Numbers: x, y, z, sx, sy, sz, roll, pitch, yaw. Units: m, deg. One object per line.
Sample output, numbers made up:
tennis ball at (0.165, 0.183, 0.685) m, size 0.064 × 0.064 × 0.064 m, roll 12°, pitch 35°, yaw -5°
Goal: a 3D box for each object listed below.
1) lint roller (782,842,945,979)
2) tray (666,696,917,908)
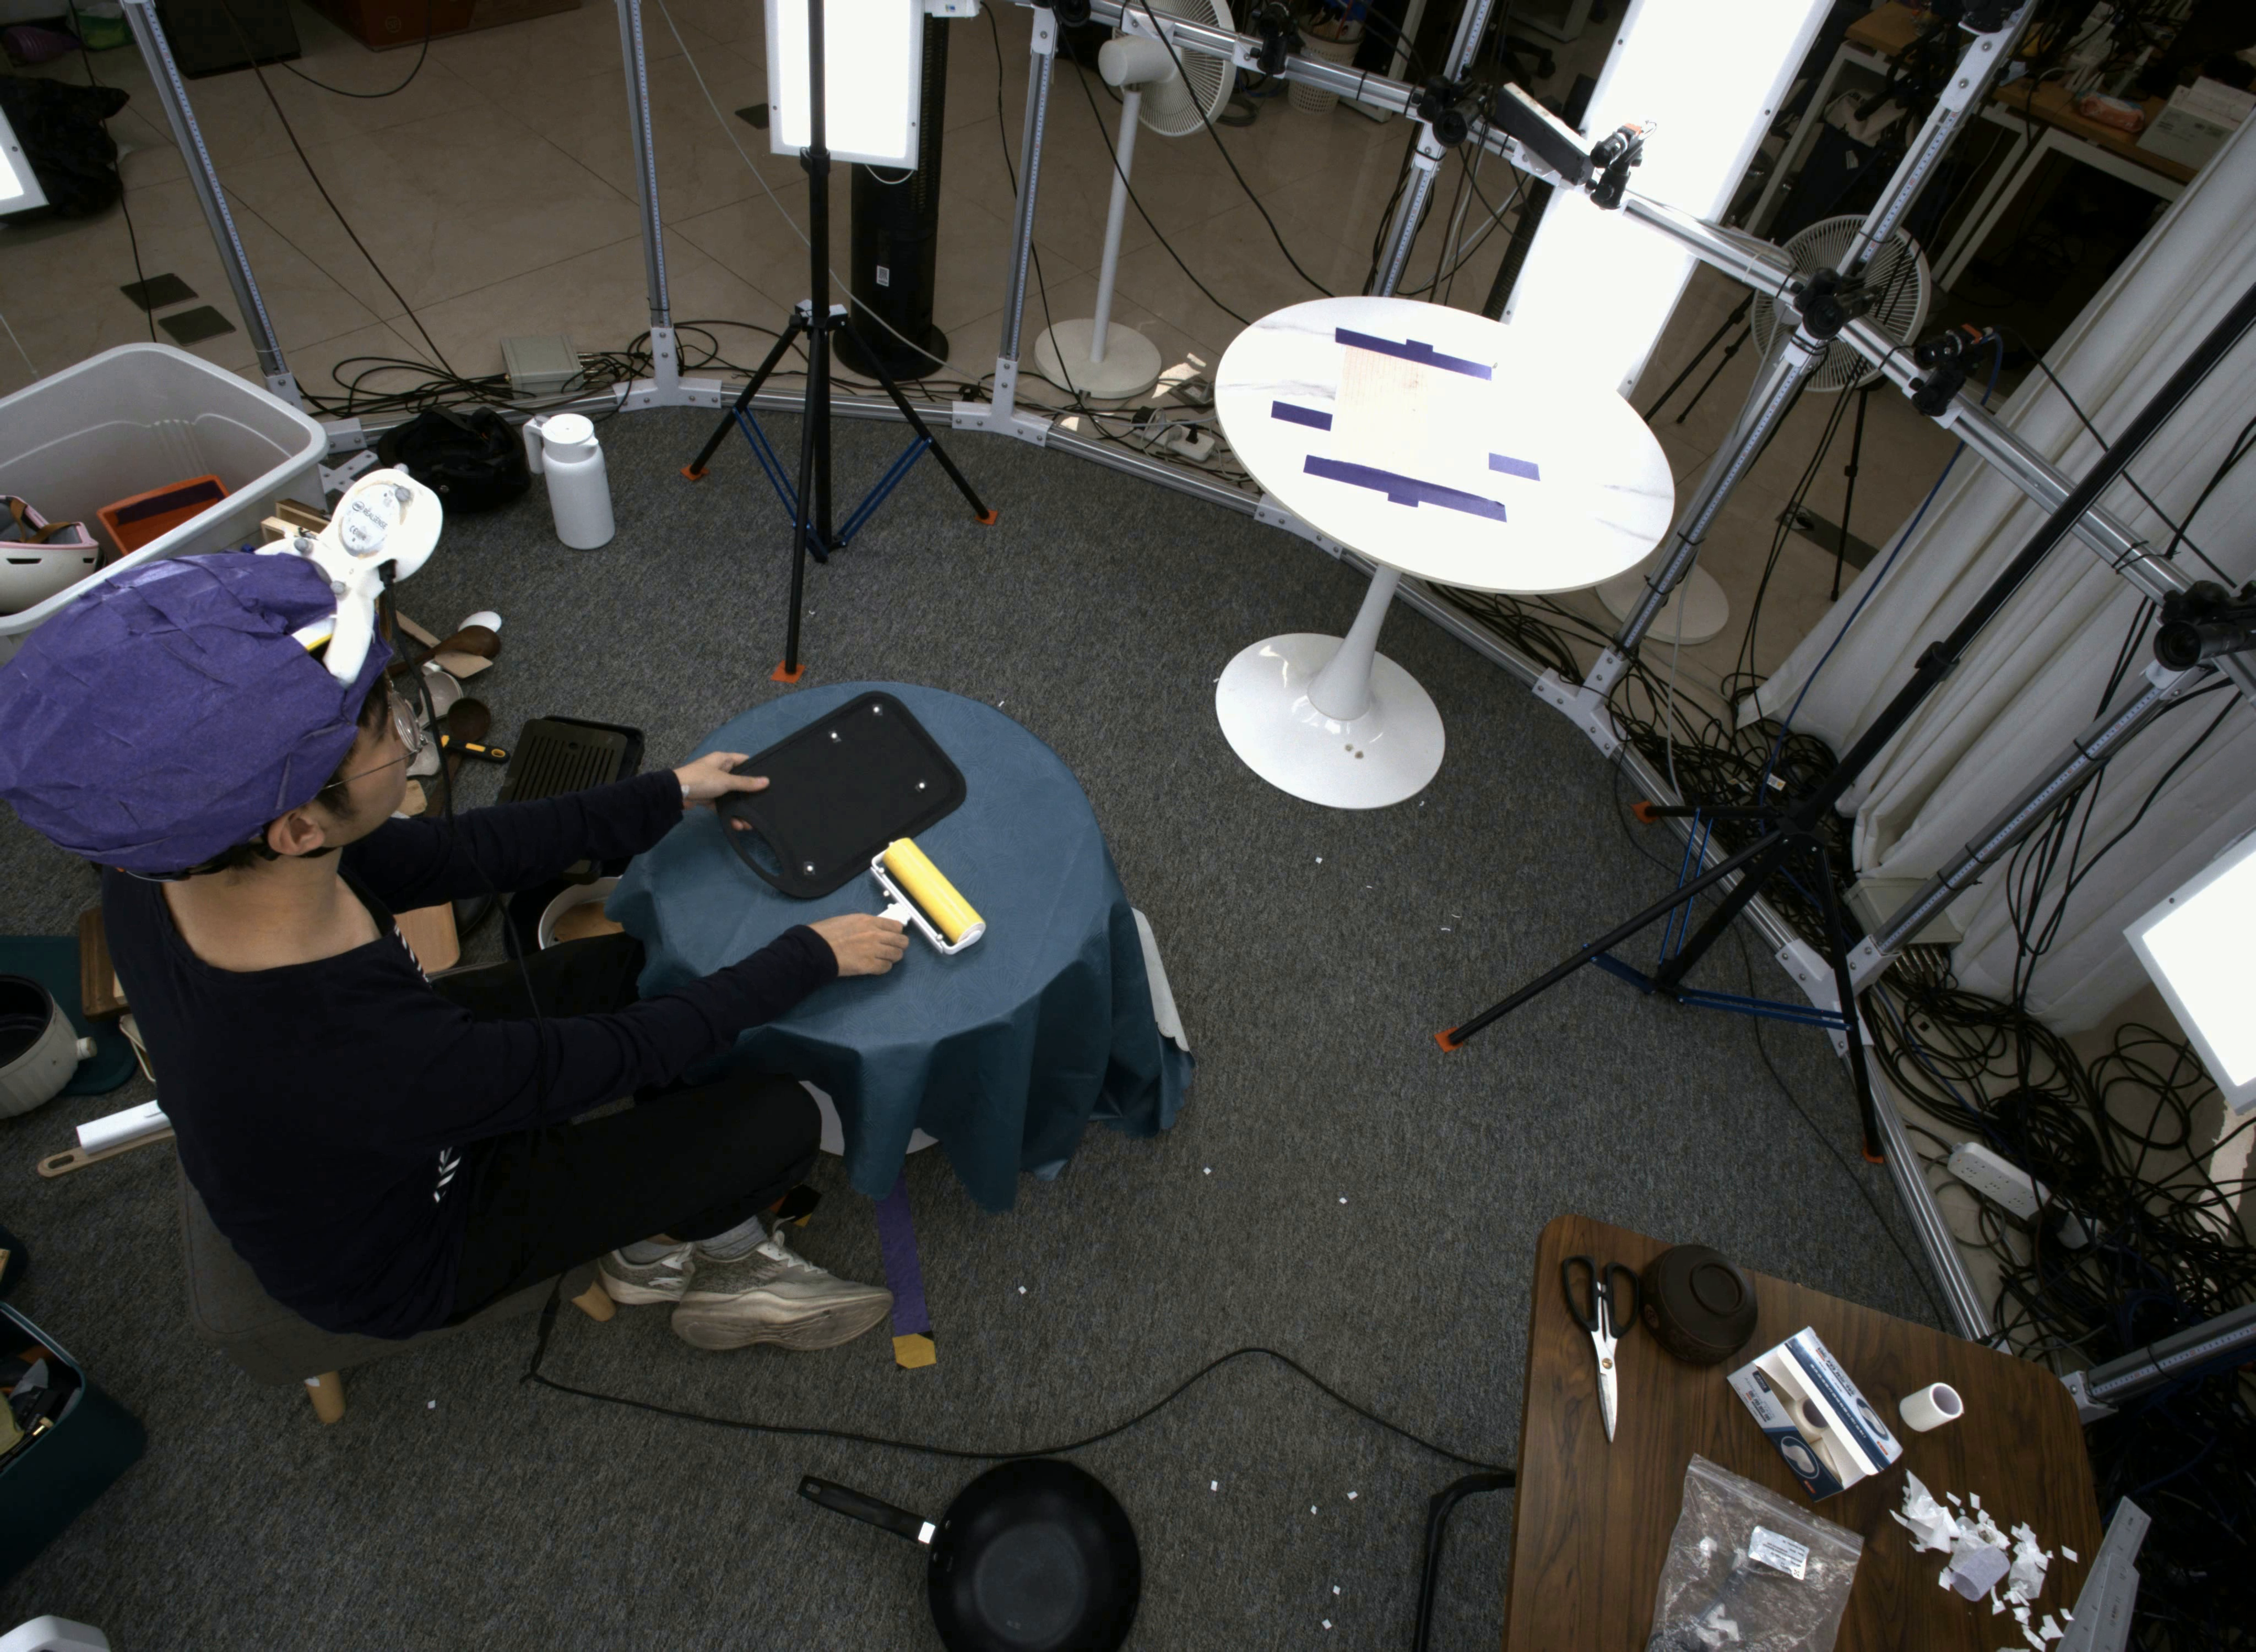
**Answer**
lint roller at (-0.354, 0.121, 1.631) m, size 0.170 × 0.052 × 0.192 m, roll 41°, pitch 52°, yaw 18°
tray at (-0.446, -0.034, 1.716) m, size 0.210 × 0.010 × 0.326 m, roll 48°, pitch 55°, yaw 2°
